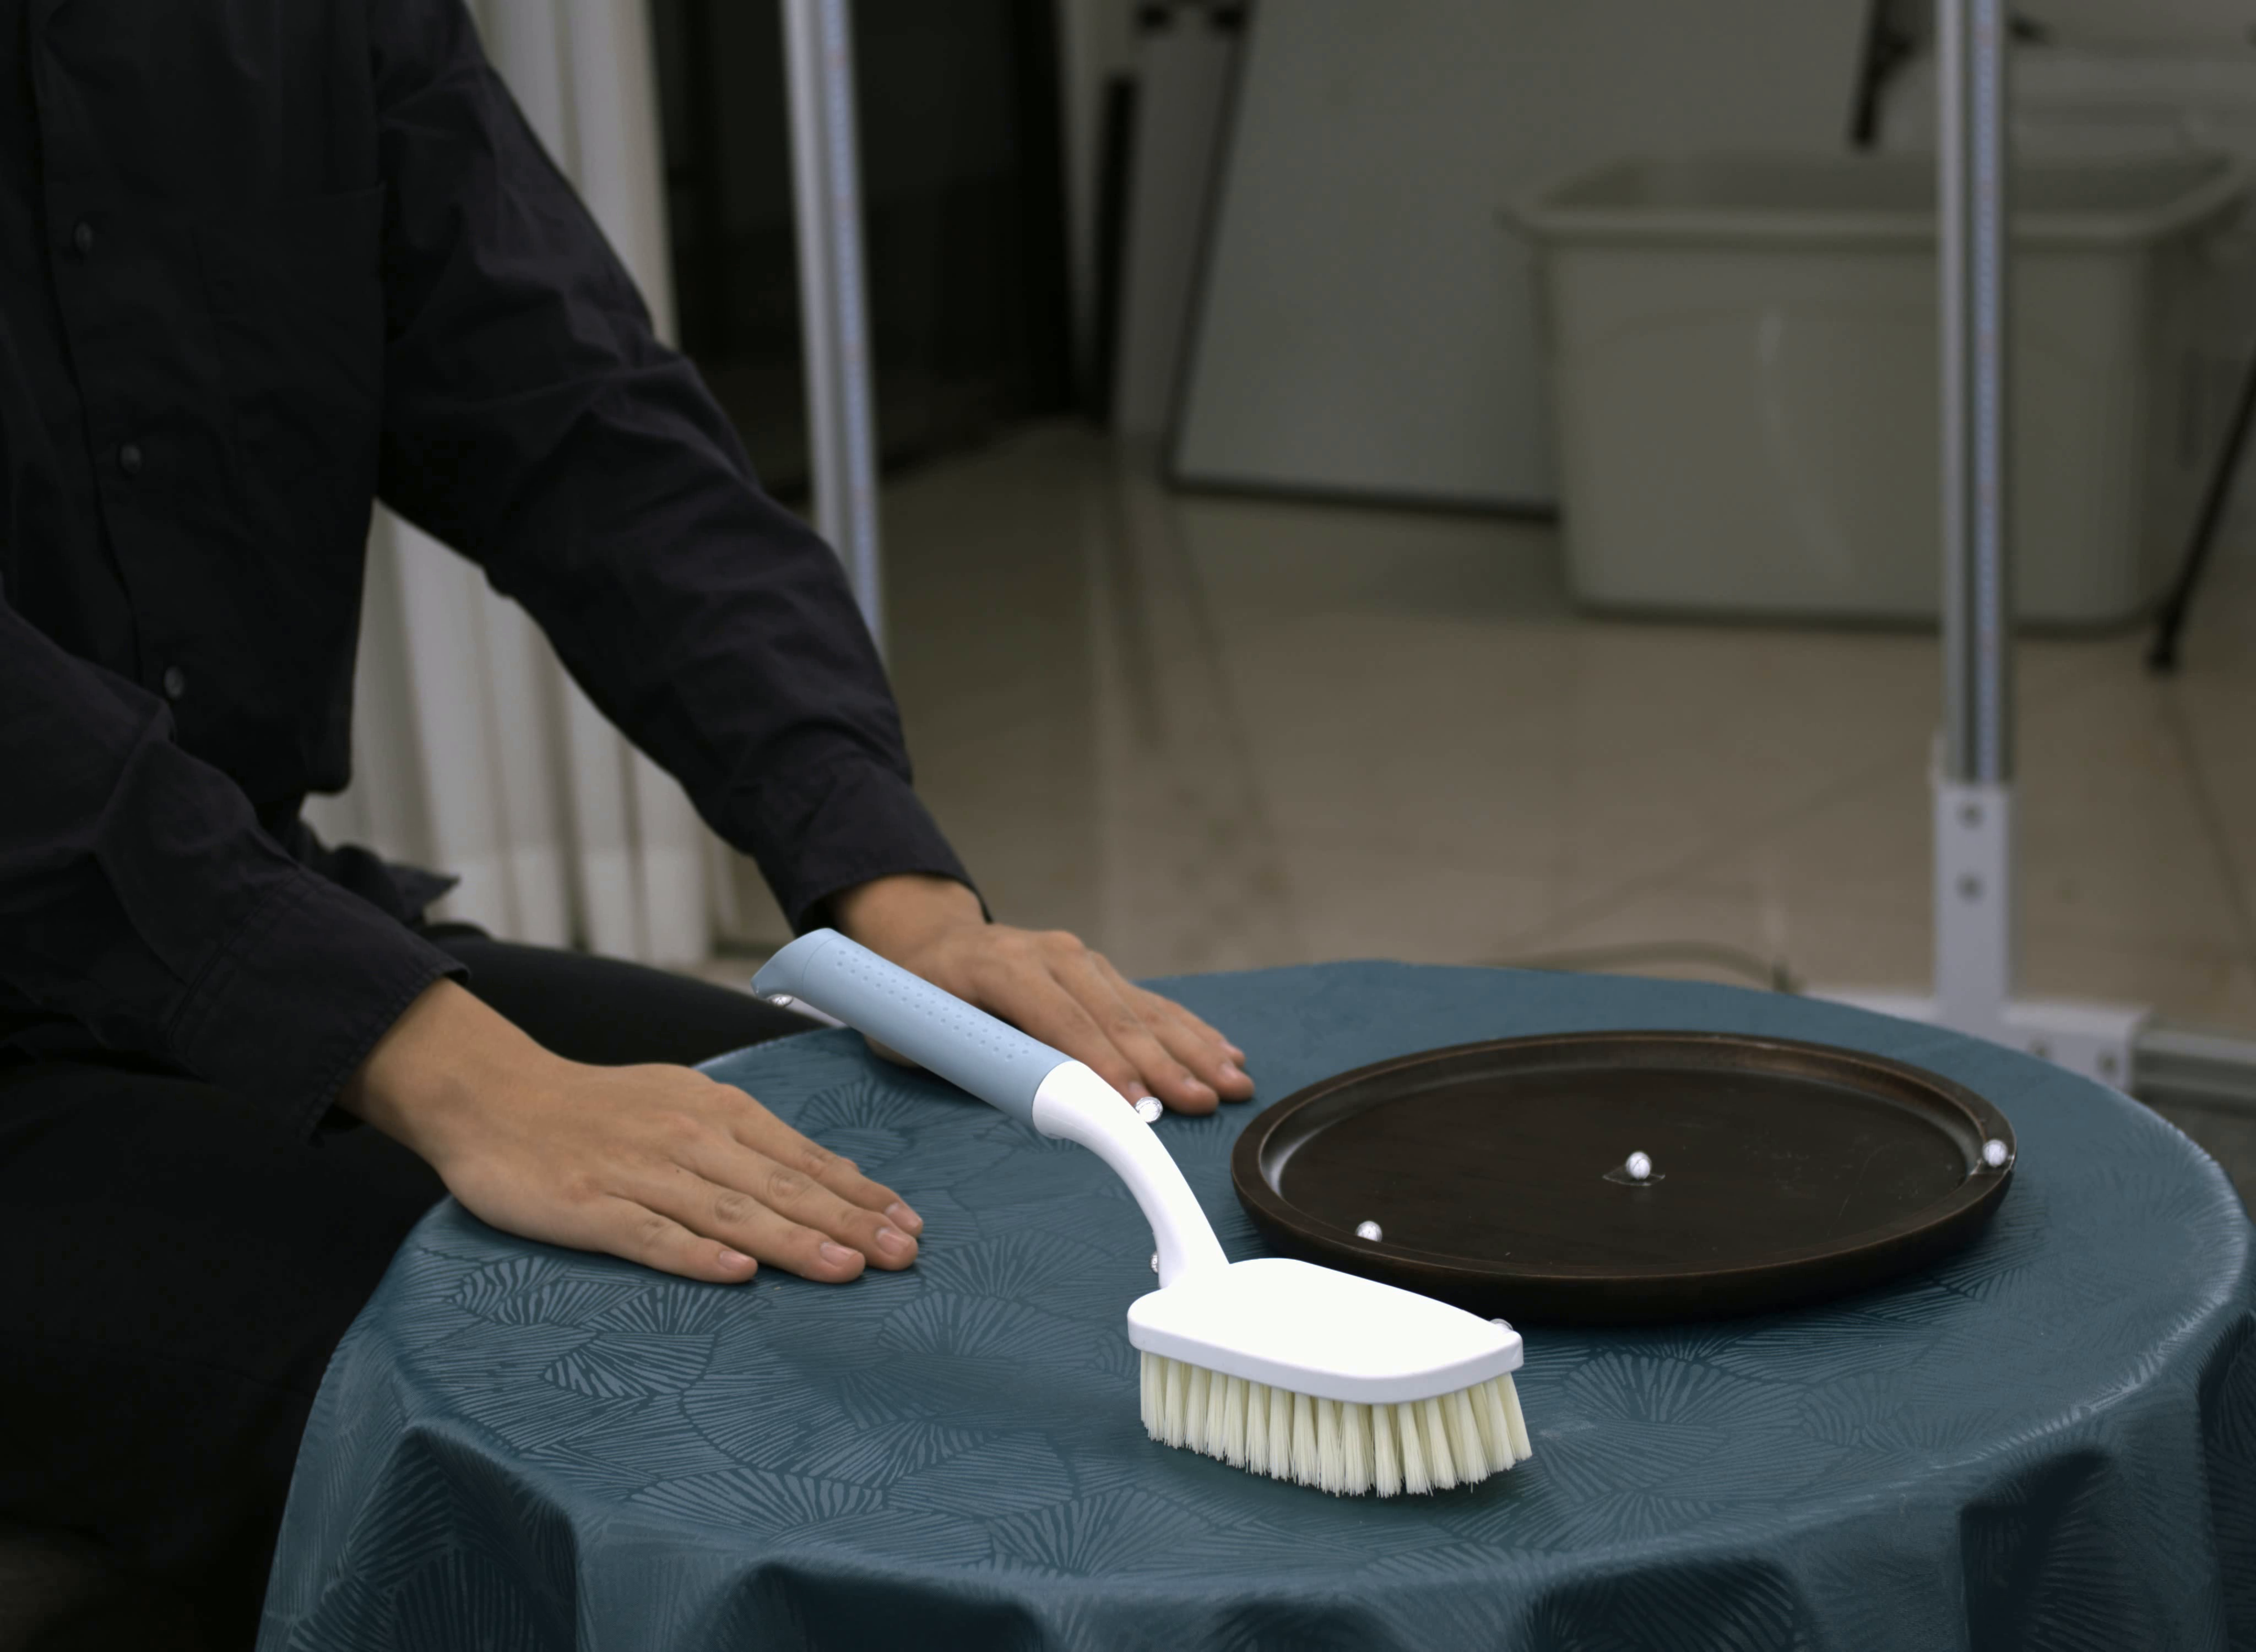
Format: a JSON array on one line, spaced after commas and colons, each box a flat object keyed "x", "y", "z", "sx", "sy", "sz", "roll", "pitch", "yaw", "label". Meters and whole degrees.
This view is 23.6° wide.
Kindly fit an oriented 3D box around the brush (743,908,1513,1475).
[{"x": -0.006, "y": 0.121, "z": 1.600, "sx": 0.329, "sy": 0.085, "sz": 0.082, "roll": 26, "pitch": -7, "yaw": 42, "label": "brush"}]

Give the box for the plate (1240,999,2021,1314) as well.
[{"x": 0.161, "y": 0.106, "z": 1.733, "sx": 0.251, "sy": 0.029, "sz": 0.255, "roll": -4, "pitch": 16, "yaw": 0, "label": "plate"}]
